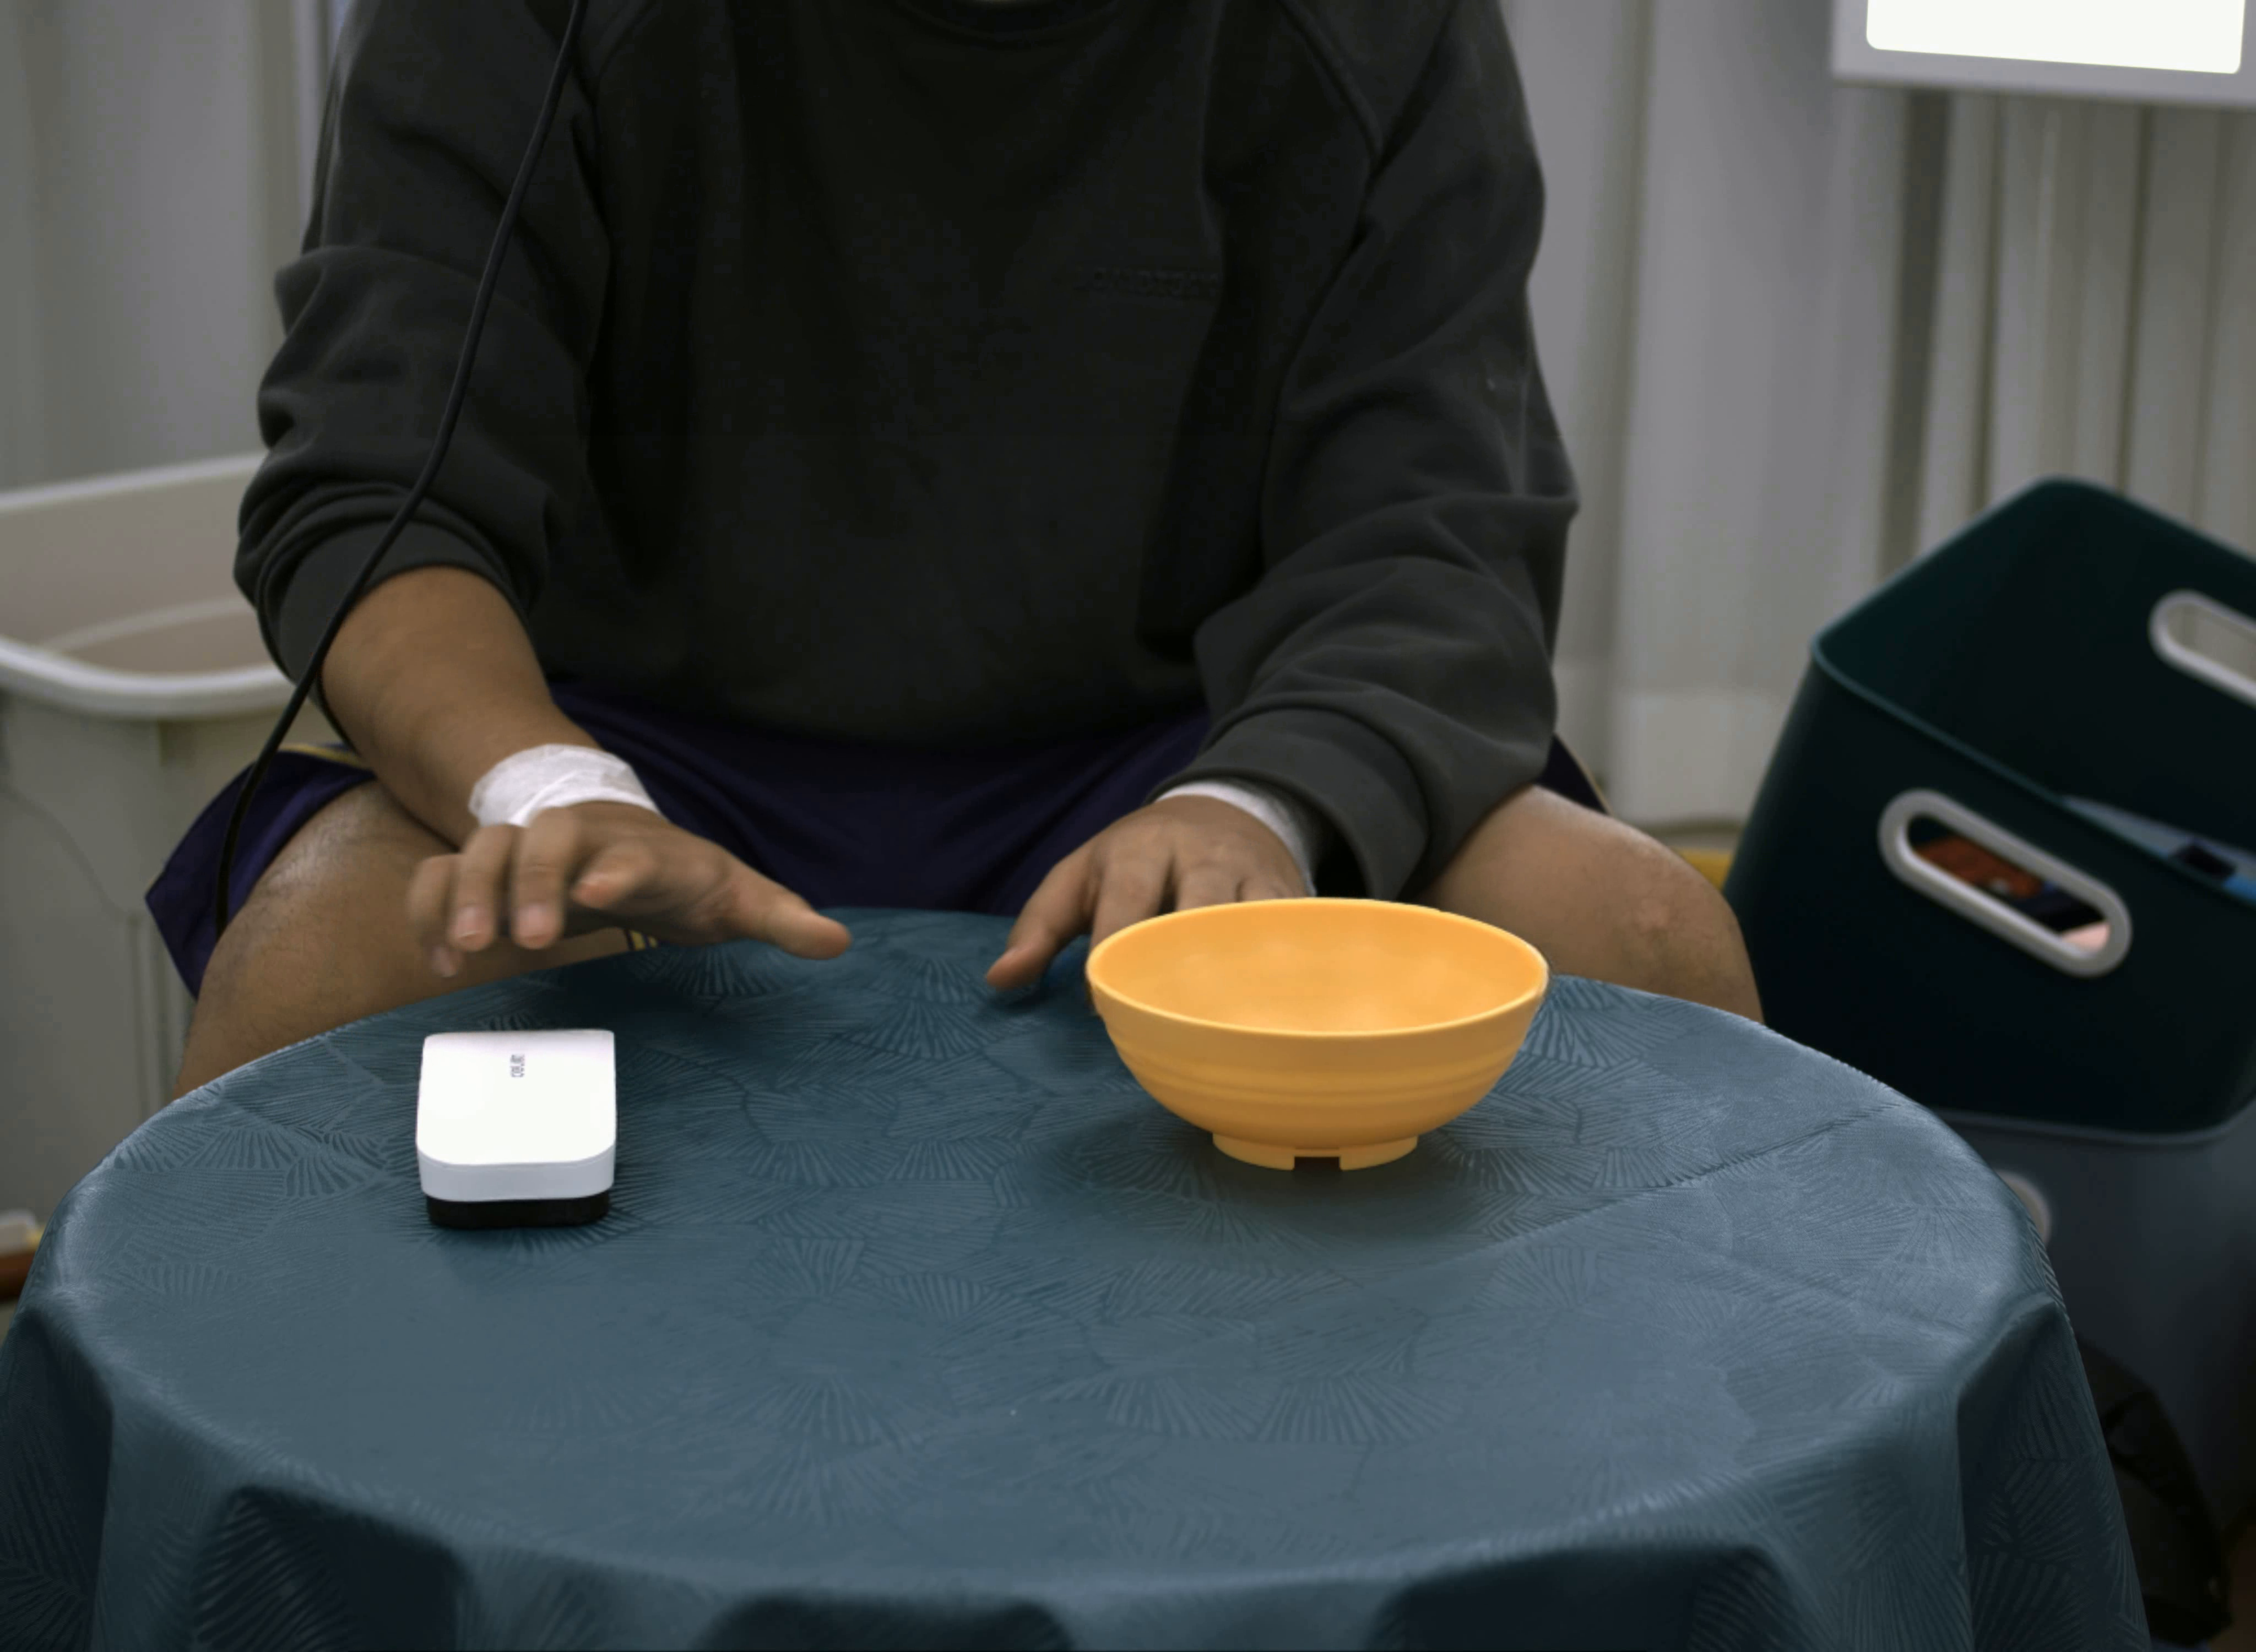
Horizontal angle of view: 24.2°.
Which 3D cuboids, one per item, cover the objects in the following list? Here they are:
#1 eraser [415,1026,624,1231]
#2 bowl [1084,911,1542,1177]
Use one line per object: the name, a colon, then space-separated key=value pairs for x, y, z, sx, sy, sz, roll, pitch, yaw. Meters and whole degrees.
eraser: x=-0.189 y=0.089 z=1.638 sx=0.063 sy=0.035 sz=0.130 roll=0 pitch=17 yaw=-5
bowl: x=0.058 y=0.073 z=1.664 sx=0.145 sy=0.060 sz=0.144 roll=1 pitch=14 yaw=0
